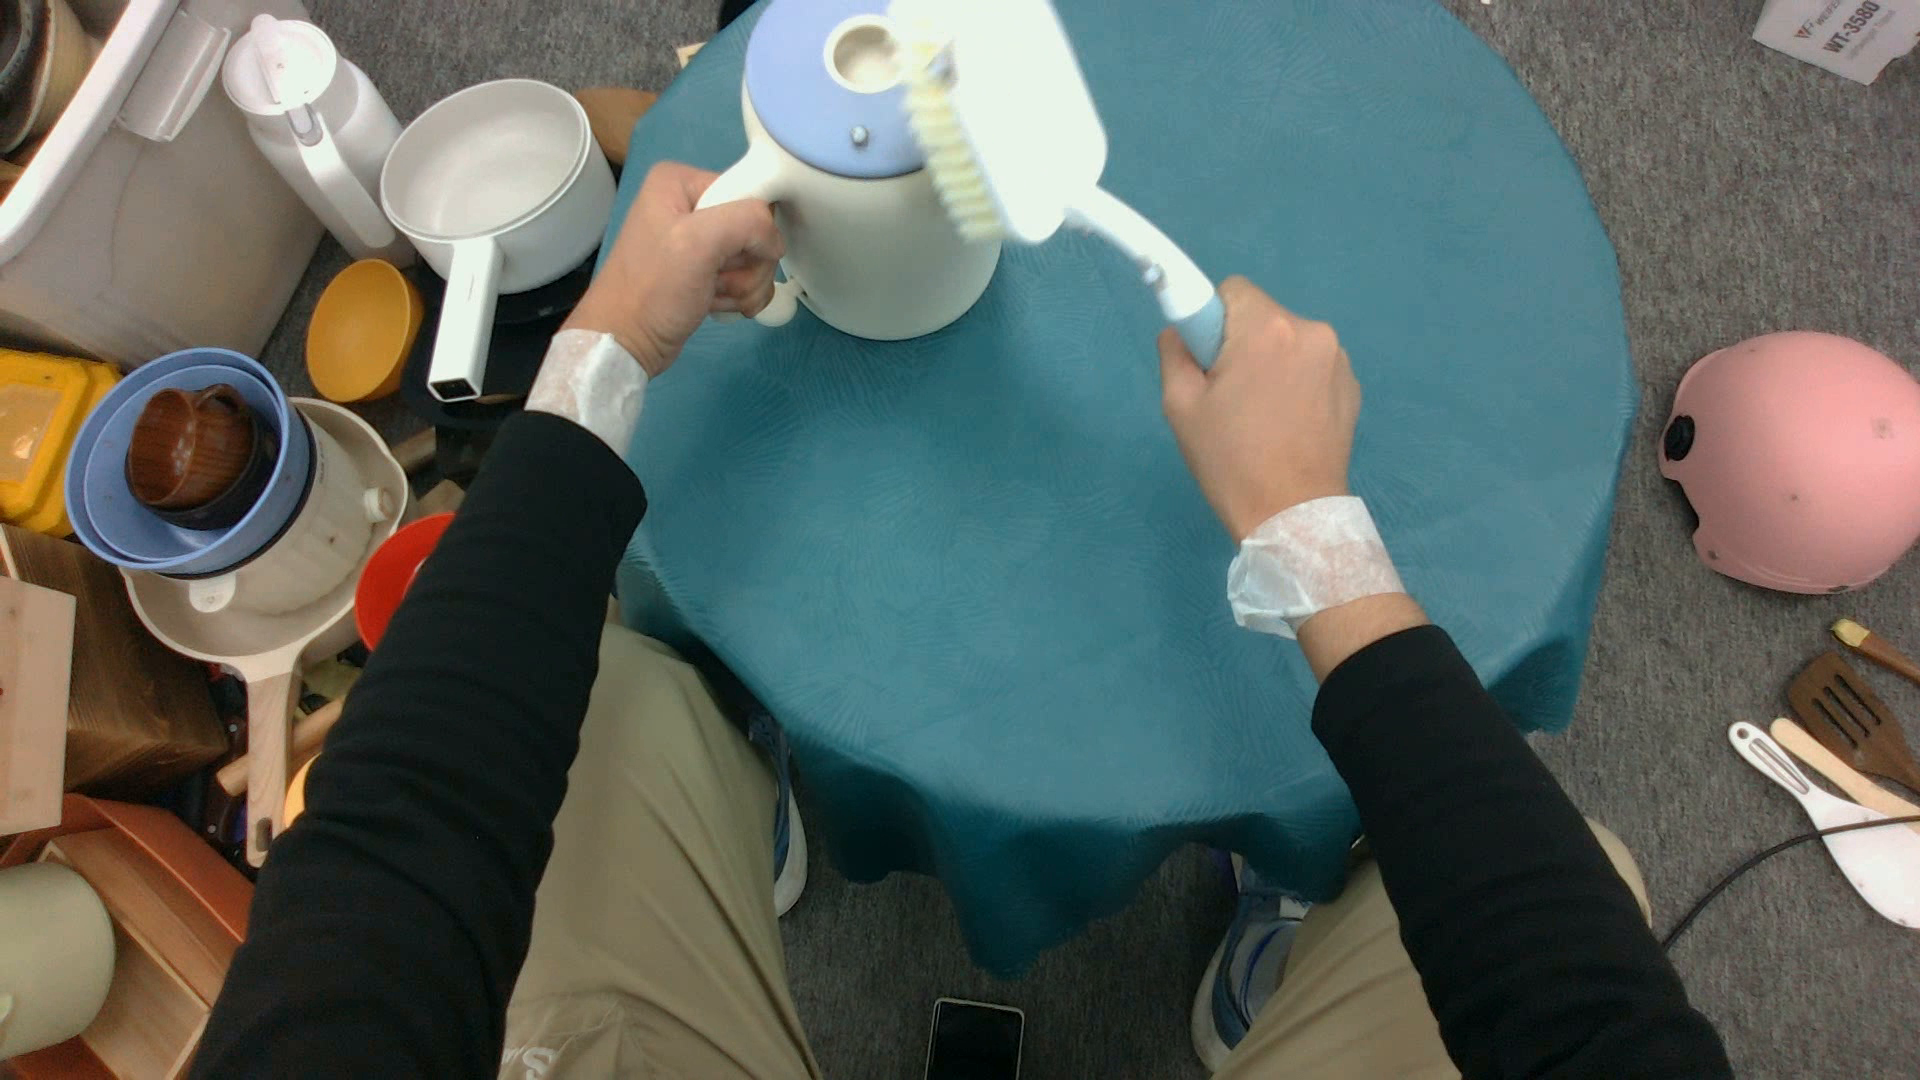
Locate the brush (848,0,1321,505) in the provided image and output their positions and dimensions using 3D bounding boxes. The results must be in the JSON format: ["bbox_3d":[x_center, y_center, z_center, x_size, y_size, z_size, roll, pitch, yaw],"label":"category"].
[{"bbox_3d":[0.057,-0.124,0.657,0.083,0.325,0.085,-36,29,18],"label":"brush"}]

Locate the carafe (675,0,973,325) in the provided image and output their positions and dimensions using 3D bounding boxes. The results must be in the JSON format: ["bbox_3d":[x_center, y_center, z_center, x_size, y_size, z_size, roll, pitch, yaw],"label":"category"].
[{"bbox_3d":[-0.071,-0.192,0.726,0.191,0.182,0.132,-40,77,-11],"label":"carafe"}]
